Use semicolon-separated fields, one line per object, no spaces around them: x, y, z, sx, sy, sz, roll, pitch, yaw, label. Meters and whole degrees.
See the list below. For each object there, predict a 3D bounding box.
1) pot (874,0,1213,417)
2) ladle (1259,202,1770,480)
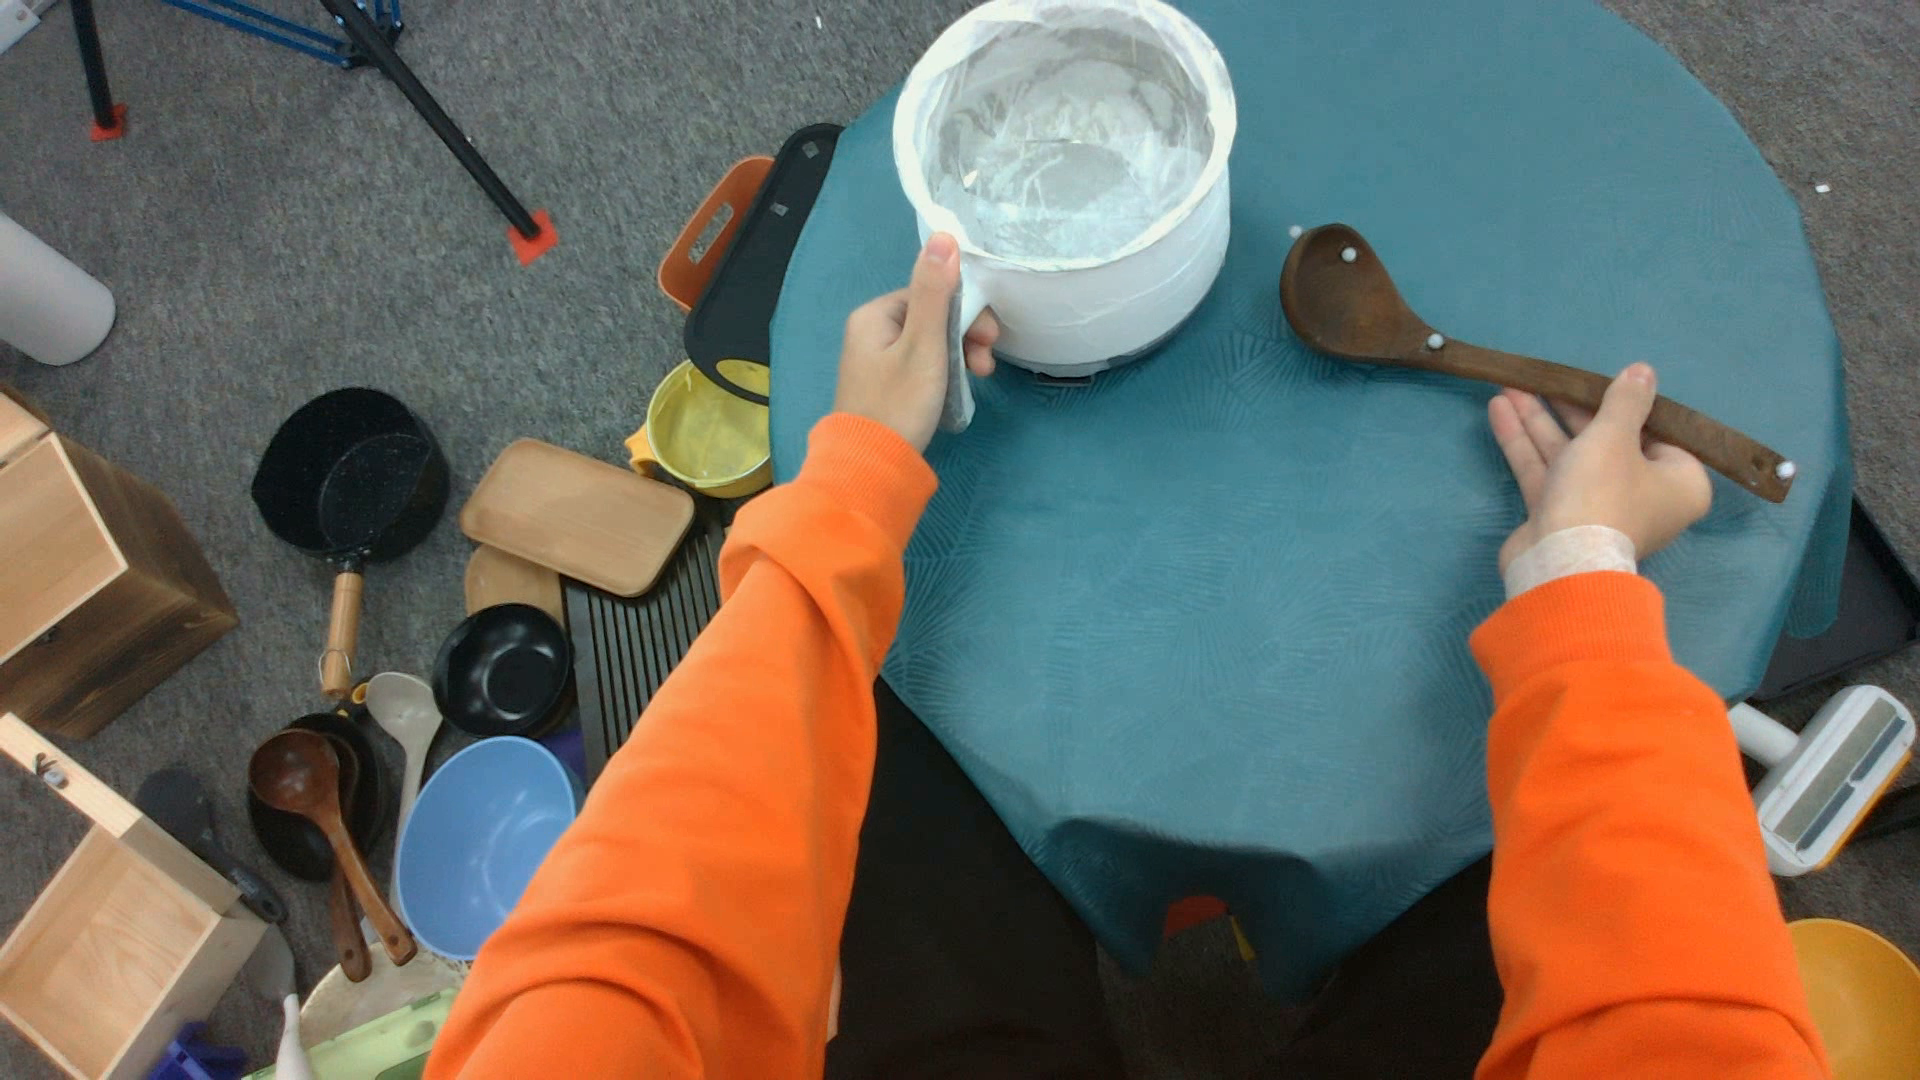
0.035;-0.180;0.763;0.179;0.136;0.234;30;76;18;pot
0.288;-0.107;0.725;0.274;0.071;0.076;25;70;24;ladle
